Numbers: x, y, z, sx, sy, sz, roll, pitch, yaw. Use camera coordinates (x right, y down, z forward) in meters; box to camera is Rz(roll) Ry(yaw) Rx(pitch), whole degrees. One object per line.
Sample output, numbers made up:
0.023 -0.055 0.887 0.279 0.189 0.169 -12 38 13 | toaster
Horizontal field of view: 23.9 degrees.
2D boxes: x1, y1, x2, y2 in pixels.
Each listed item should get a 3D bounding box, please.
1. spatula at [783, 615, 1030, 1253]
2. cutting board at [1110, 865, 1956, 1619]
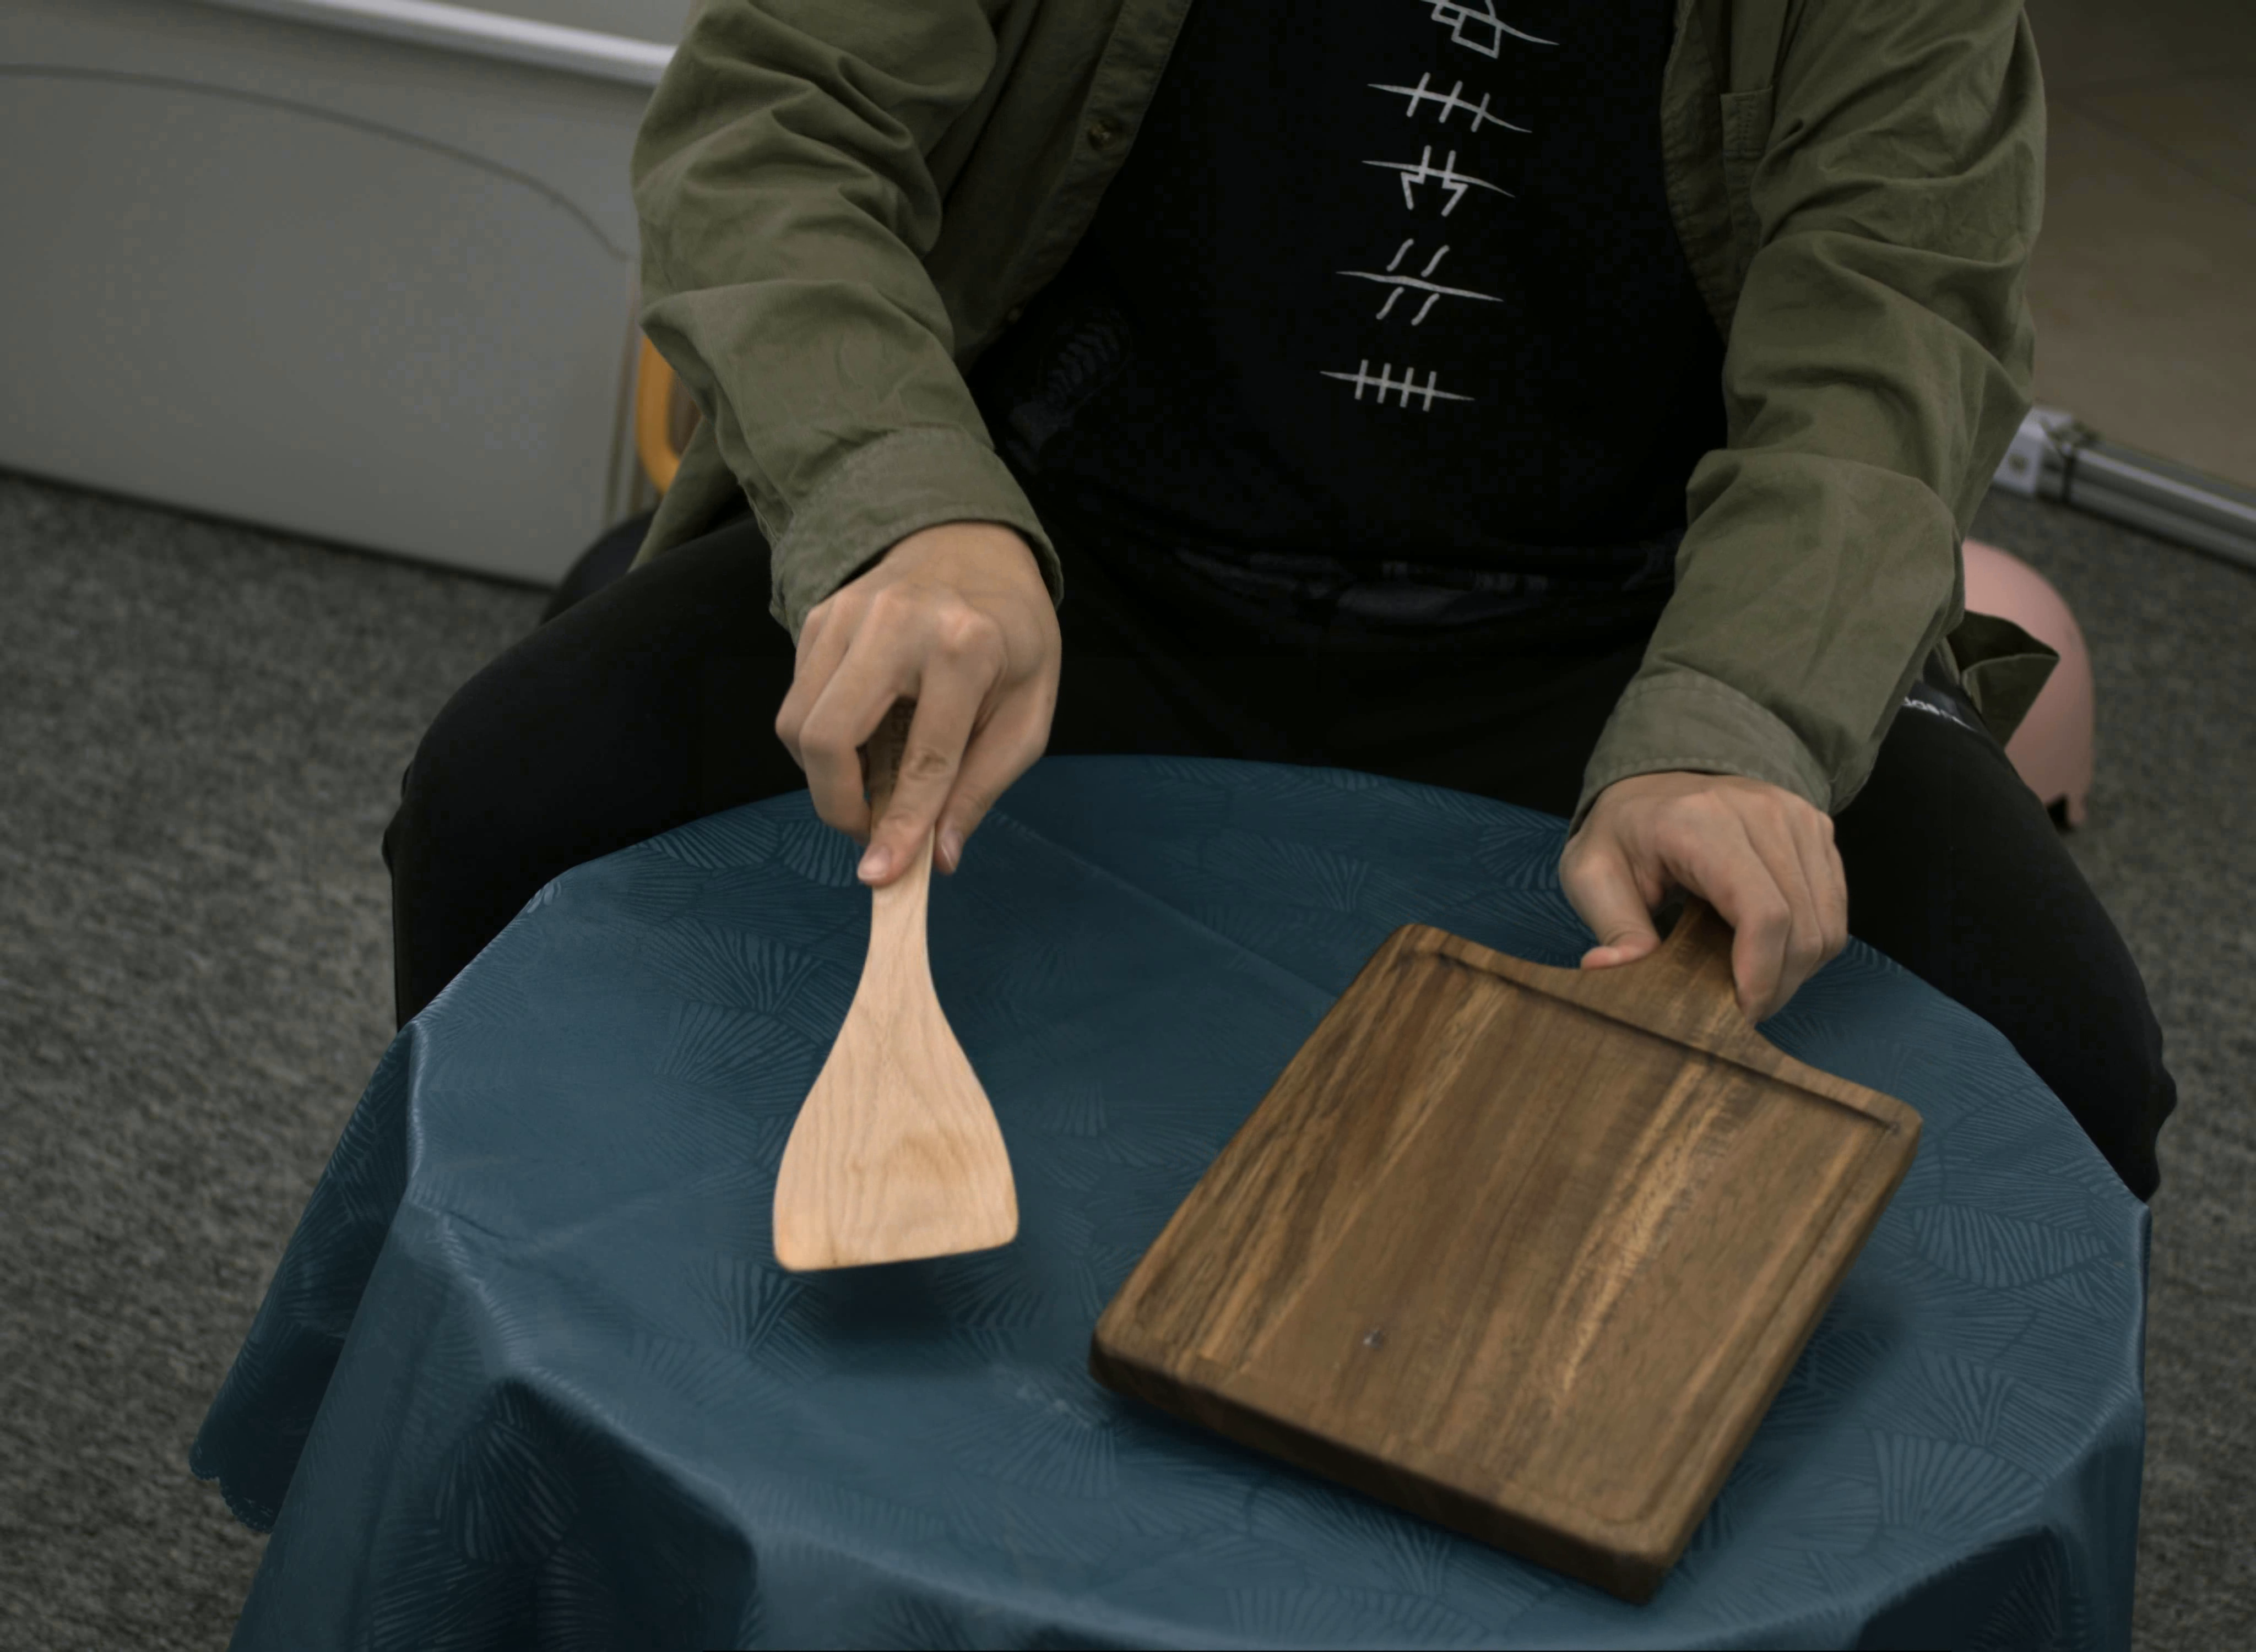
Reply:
-0.076 0.031 1.814 0.079 0.016 0.330 0 42 -2 | spatula
0.158 0.113 1.756 0.202 0.023 0.352 21 40 19 | cutting board
